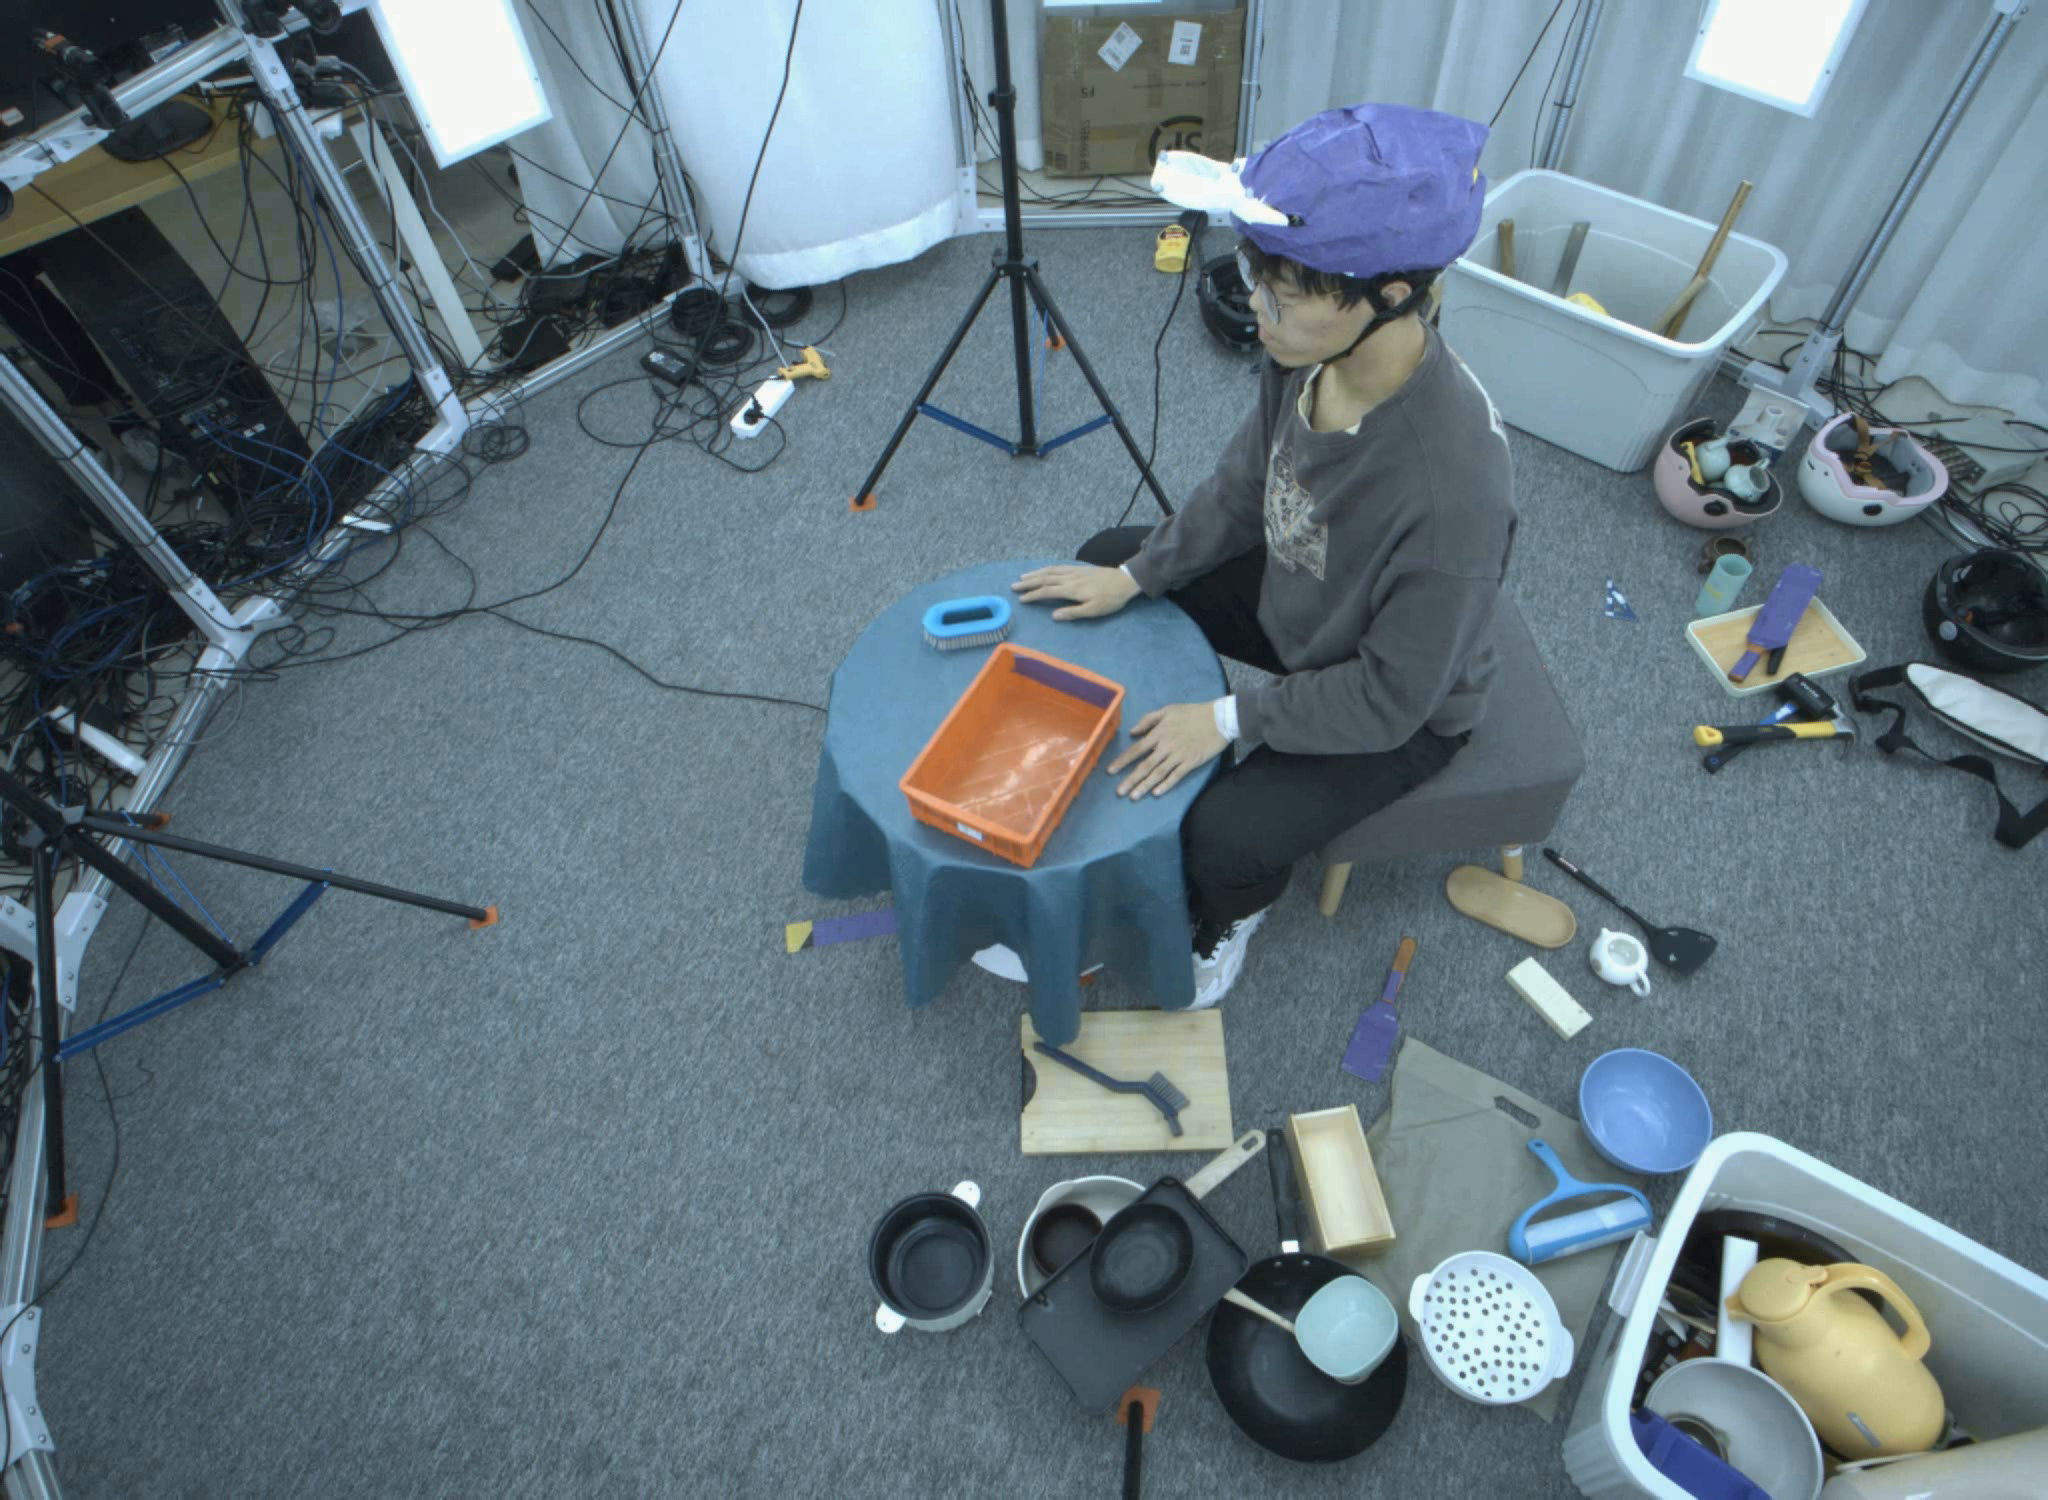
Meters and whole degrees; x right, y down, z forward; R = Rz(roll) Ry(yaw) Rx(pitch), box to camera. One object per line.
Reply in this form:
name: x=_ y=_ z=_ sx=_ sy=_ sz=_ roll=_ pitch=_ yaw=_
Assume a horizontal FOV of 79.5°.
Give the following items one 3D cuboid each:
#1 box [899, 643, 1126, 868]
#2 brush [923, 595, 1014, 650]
box: x=-0.009 y=0.006 z=1.728 sx=0.204 sy=0.097 sz=0.304 roll=23 pitch=59 yaw=18
brush: x=-0.087 y=-0.207 z=1.897 sx=0.142 sy=0.064 sz=0.083 roll=-6 pitch=49 yaw=-4
